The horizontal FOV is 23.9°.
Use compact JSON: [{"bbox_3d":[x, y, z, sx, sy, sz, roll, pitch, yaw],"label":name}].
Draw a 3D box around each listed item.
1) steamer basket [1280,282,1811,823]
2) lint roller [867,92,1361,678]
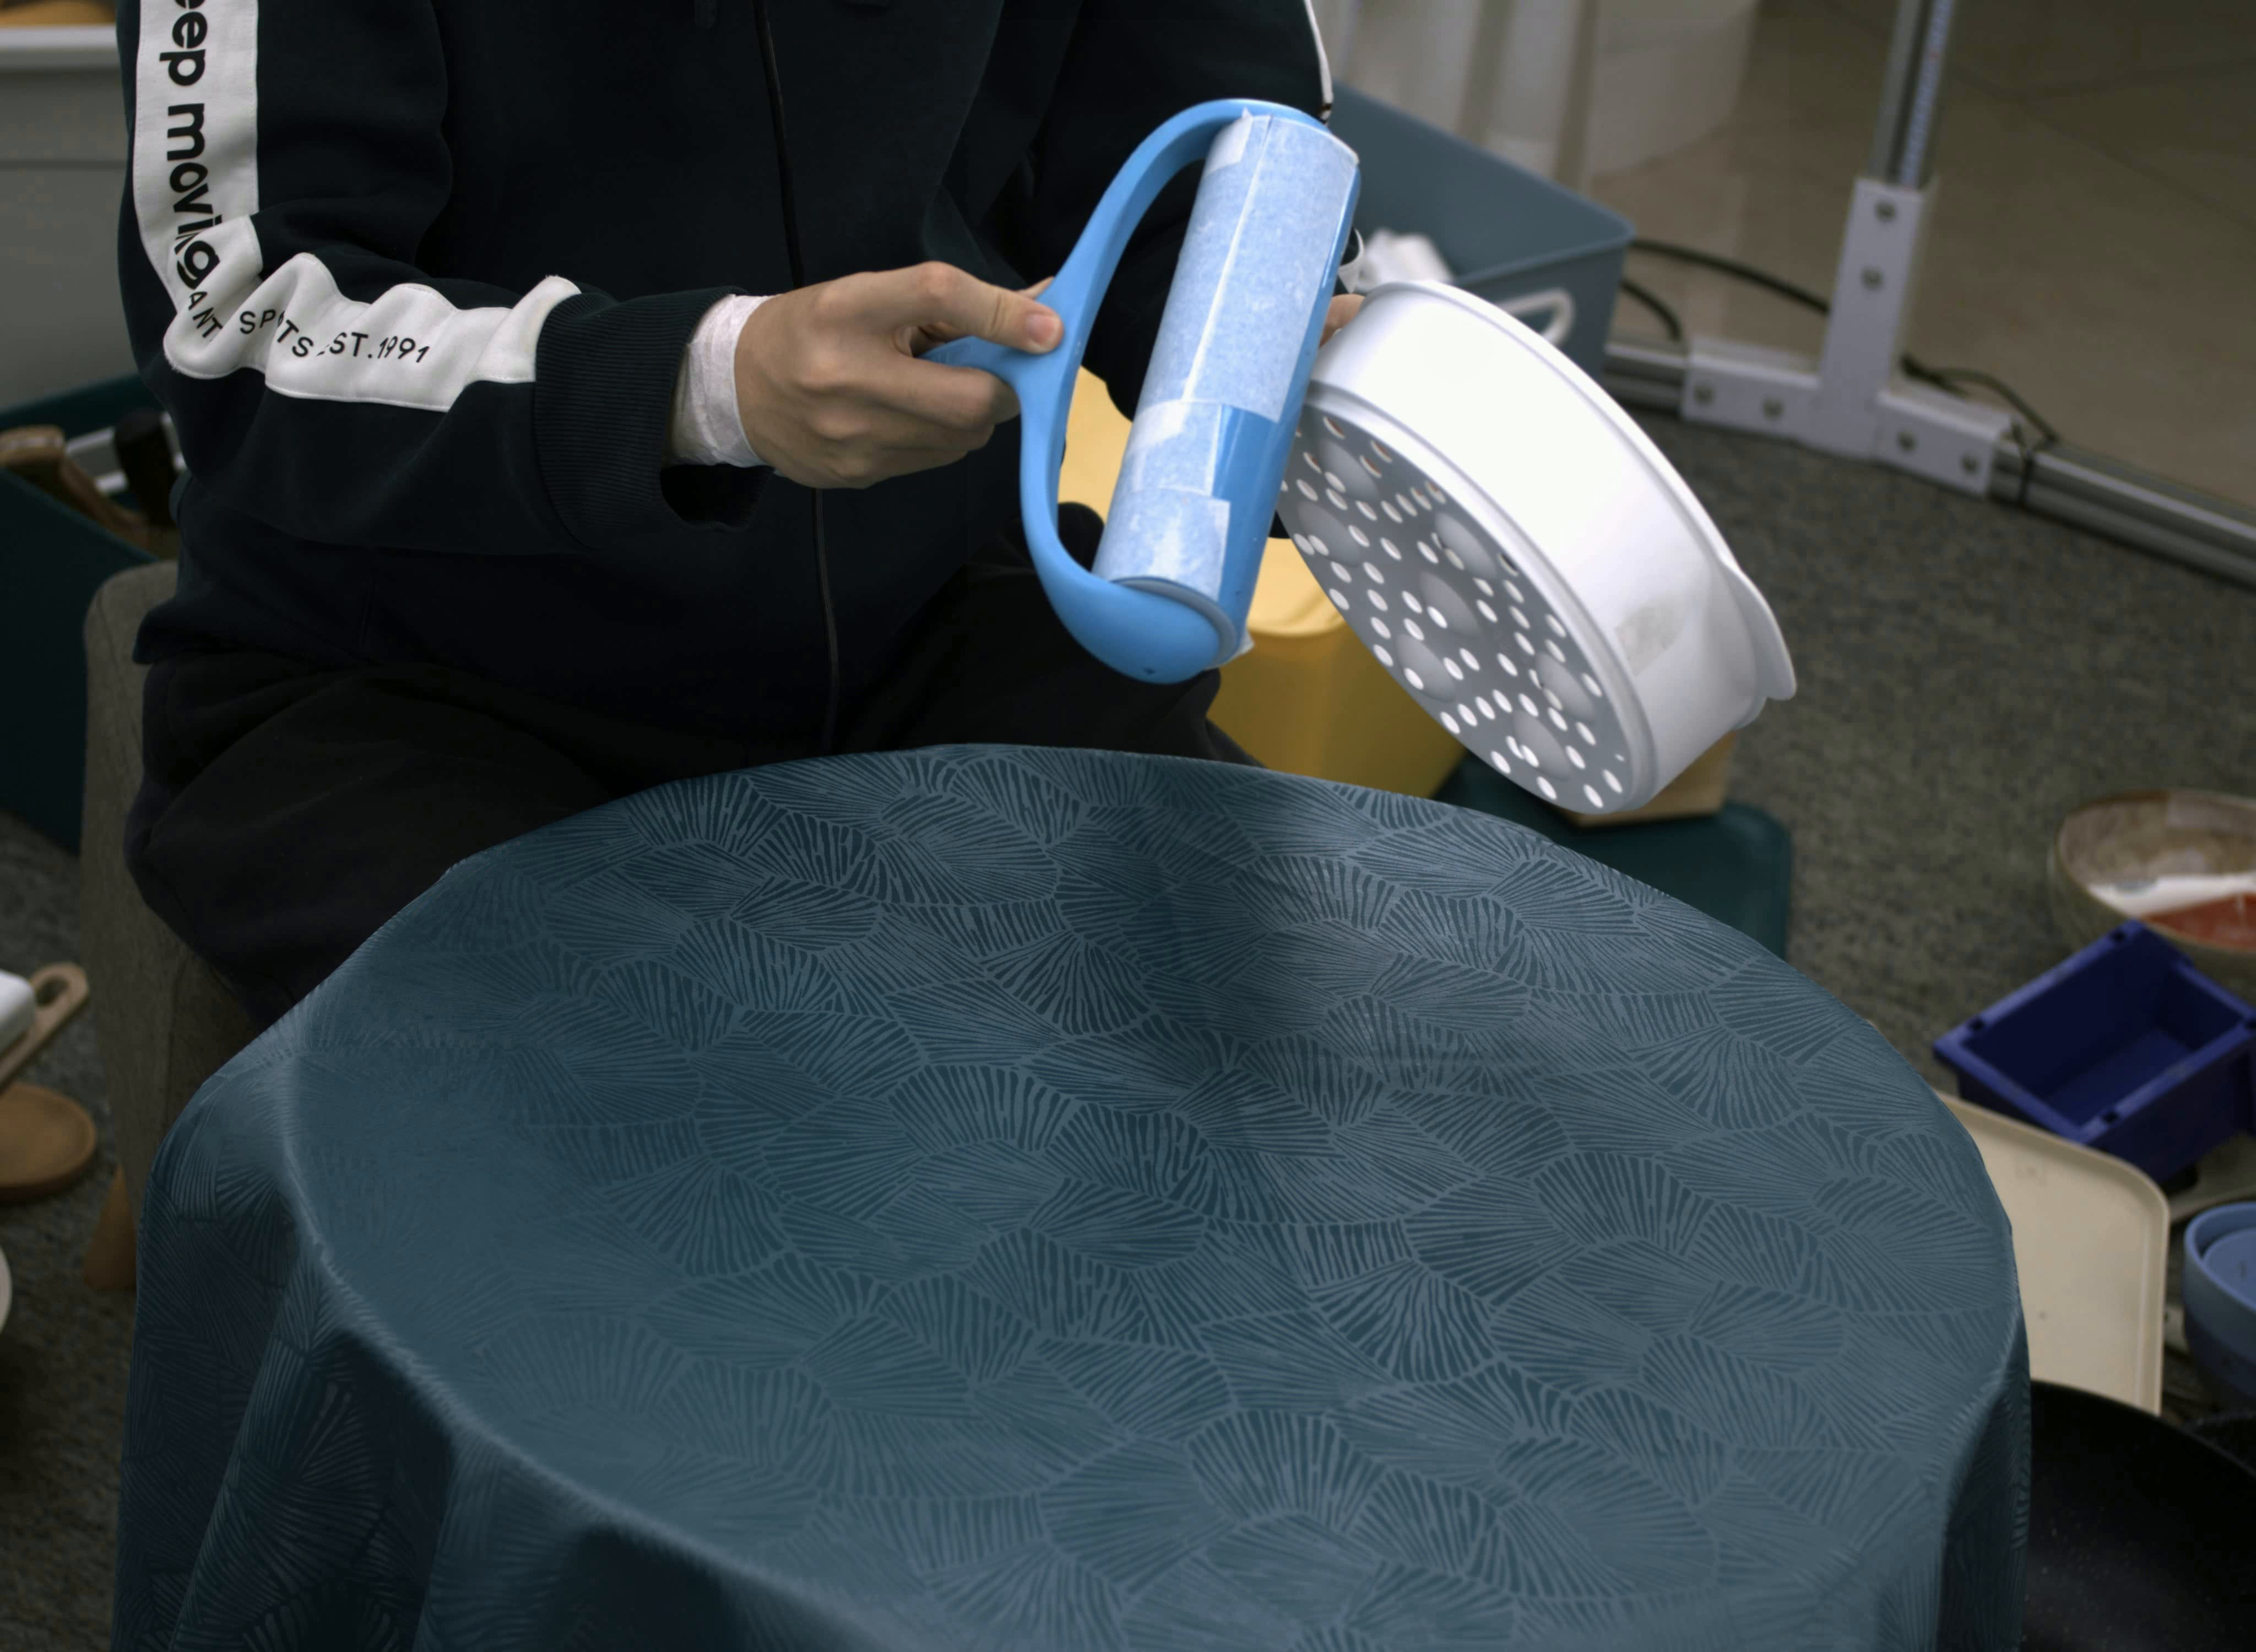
[{"bbox_3d":[0.133,-0.090,1.845,0.069,0.200,0.232,-42,48,-16],"label":"steamer basket"},{"bbox_3d":[-0.018,-0.146,1.810,0.180,0.067,0.230,-5,57,23],"label":"lint roller"}]
